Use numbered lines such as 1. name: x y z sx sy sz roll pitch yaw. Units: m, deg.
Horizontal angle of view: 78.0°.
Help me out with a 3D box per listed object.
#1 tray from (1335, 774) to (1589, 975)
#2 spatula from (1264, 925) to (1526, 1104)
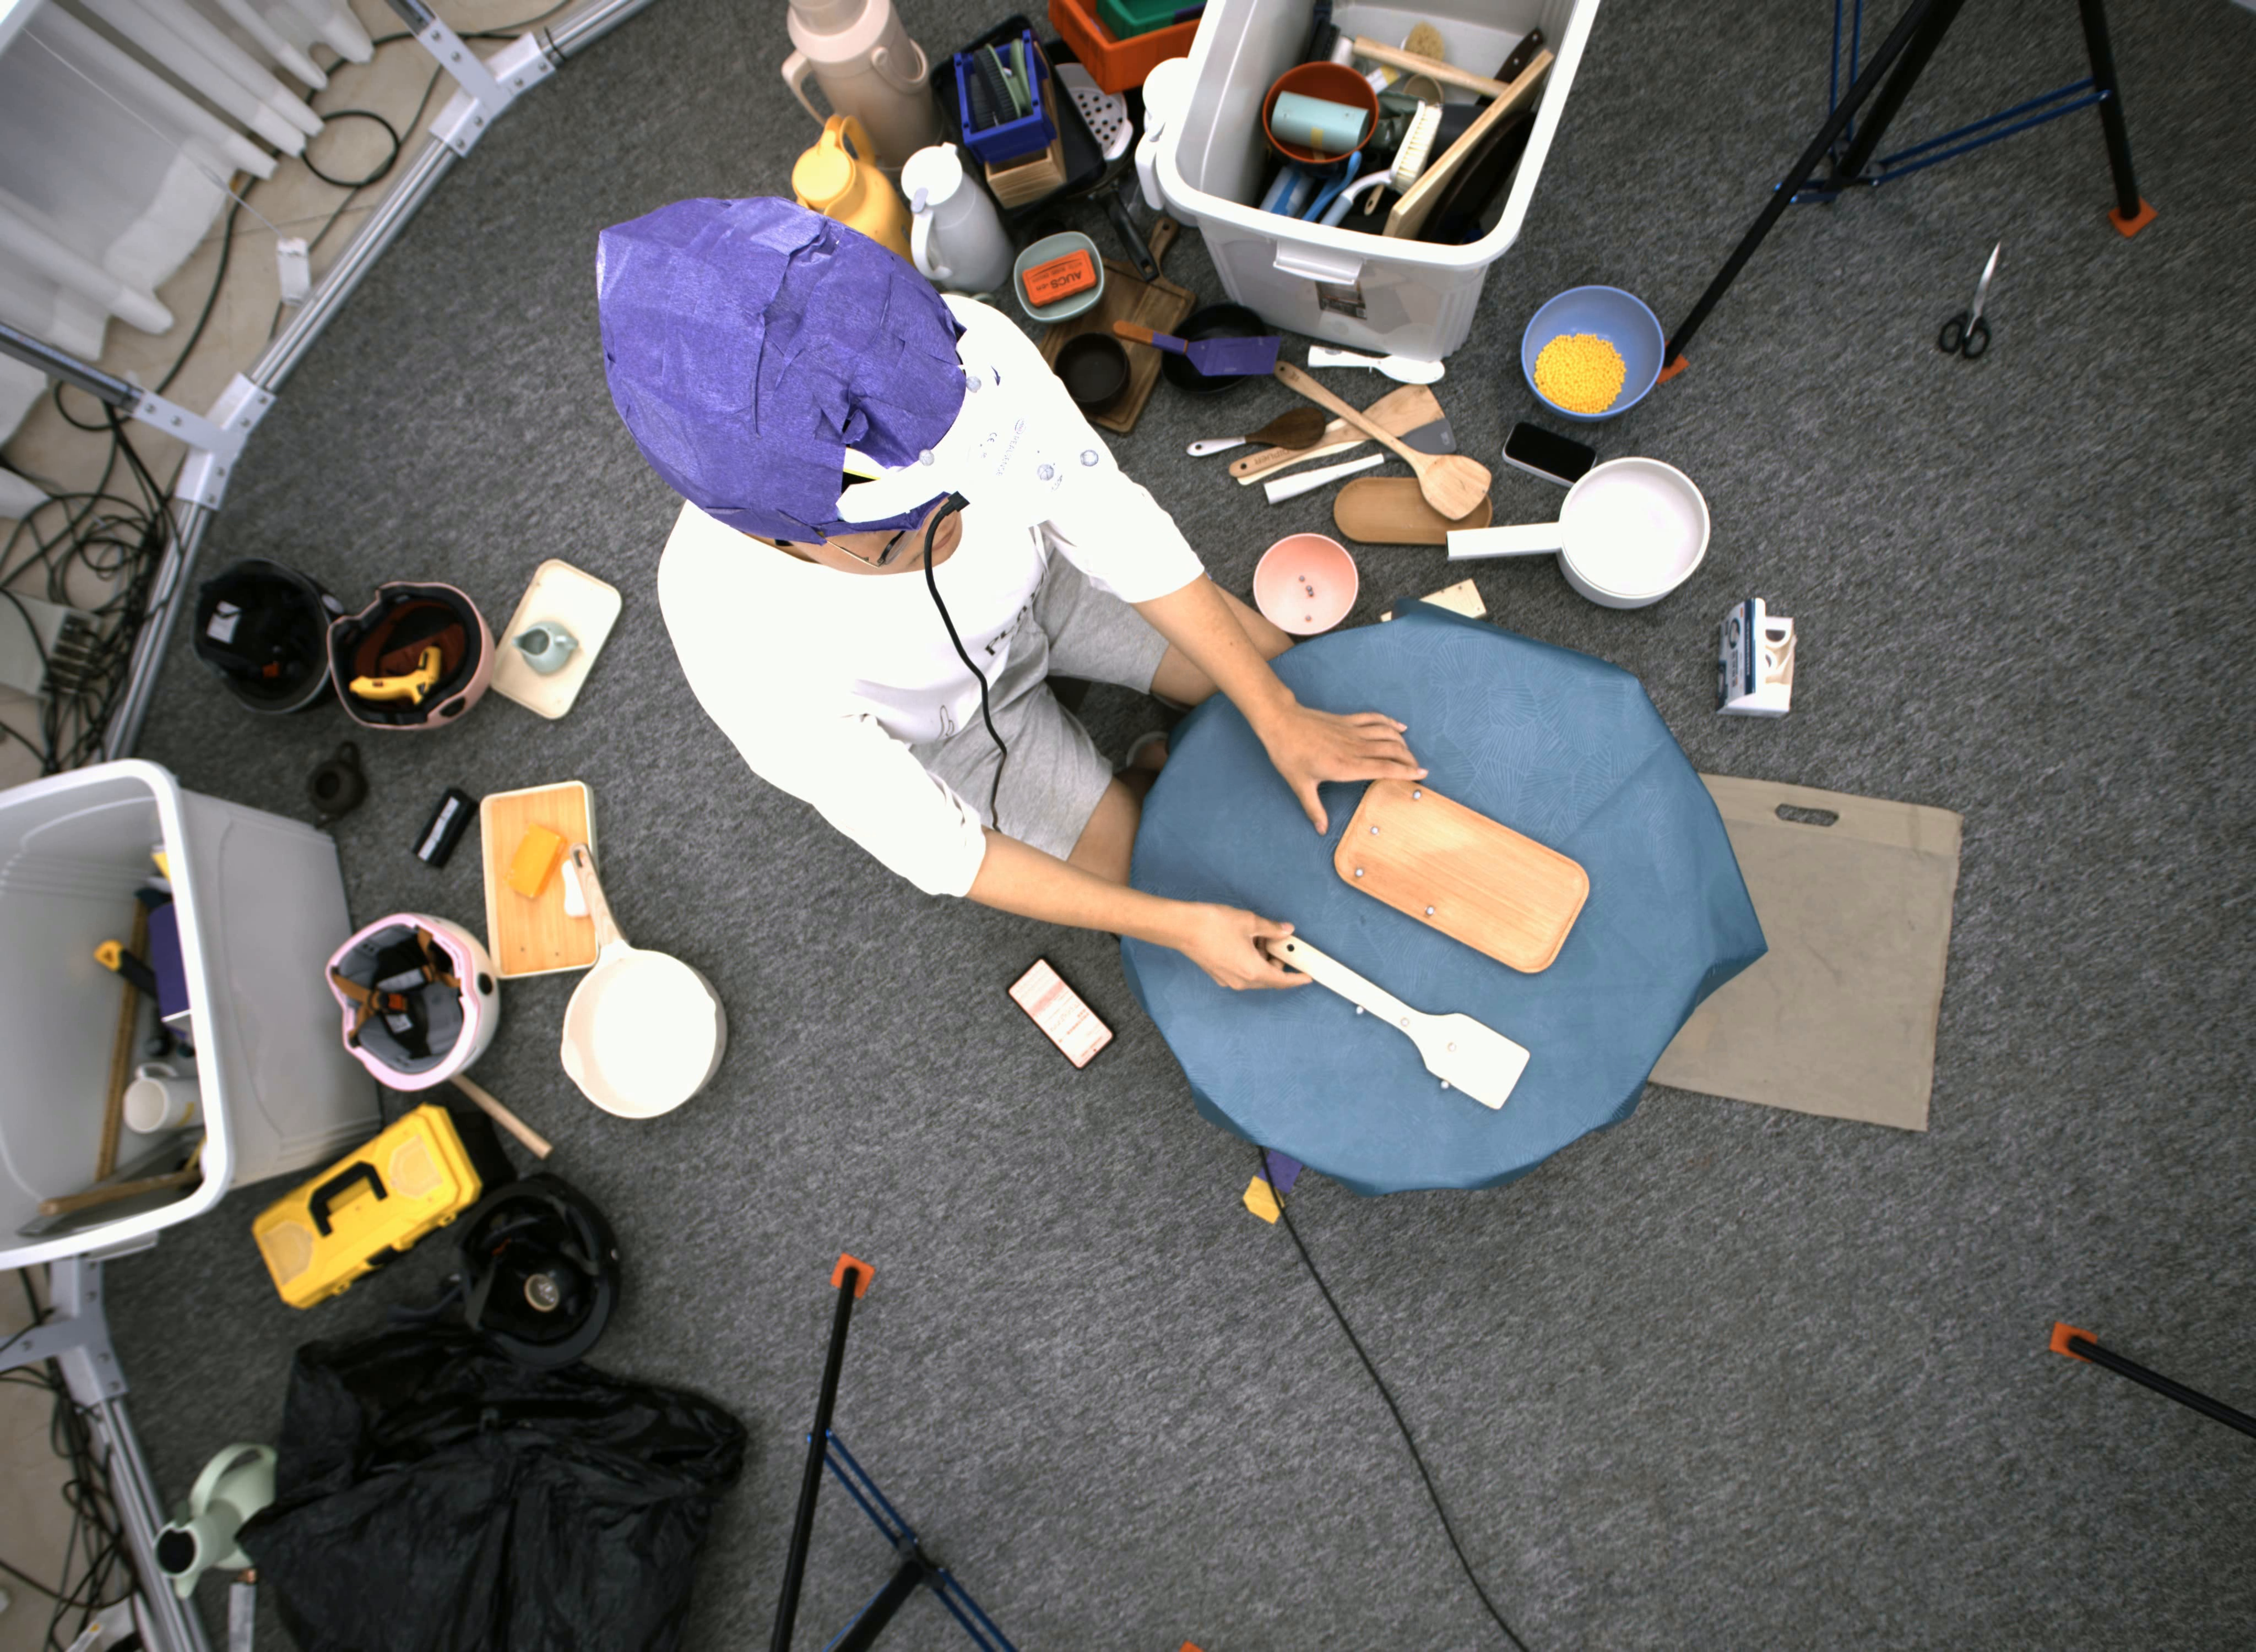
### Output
1. tray: 0.347 0.048 1.438 0.250 0.023 0.131 29 94 11
2. spatula: 0.271 0.186 1.441 0.292 0.010 0.072 30 90 7
